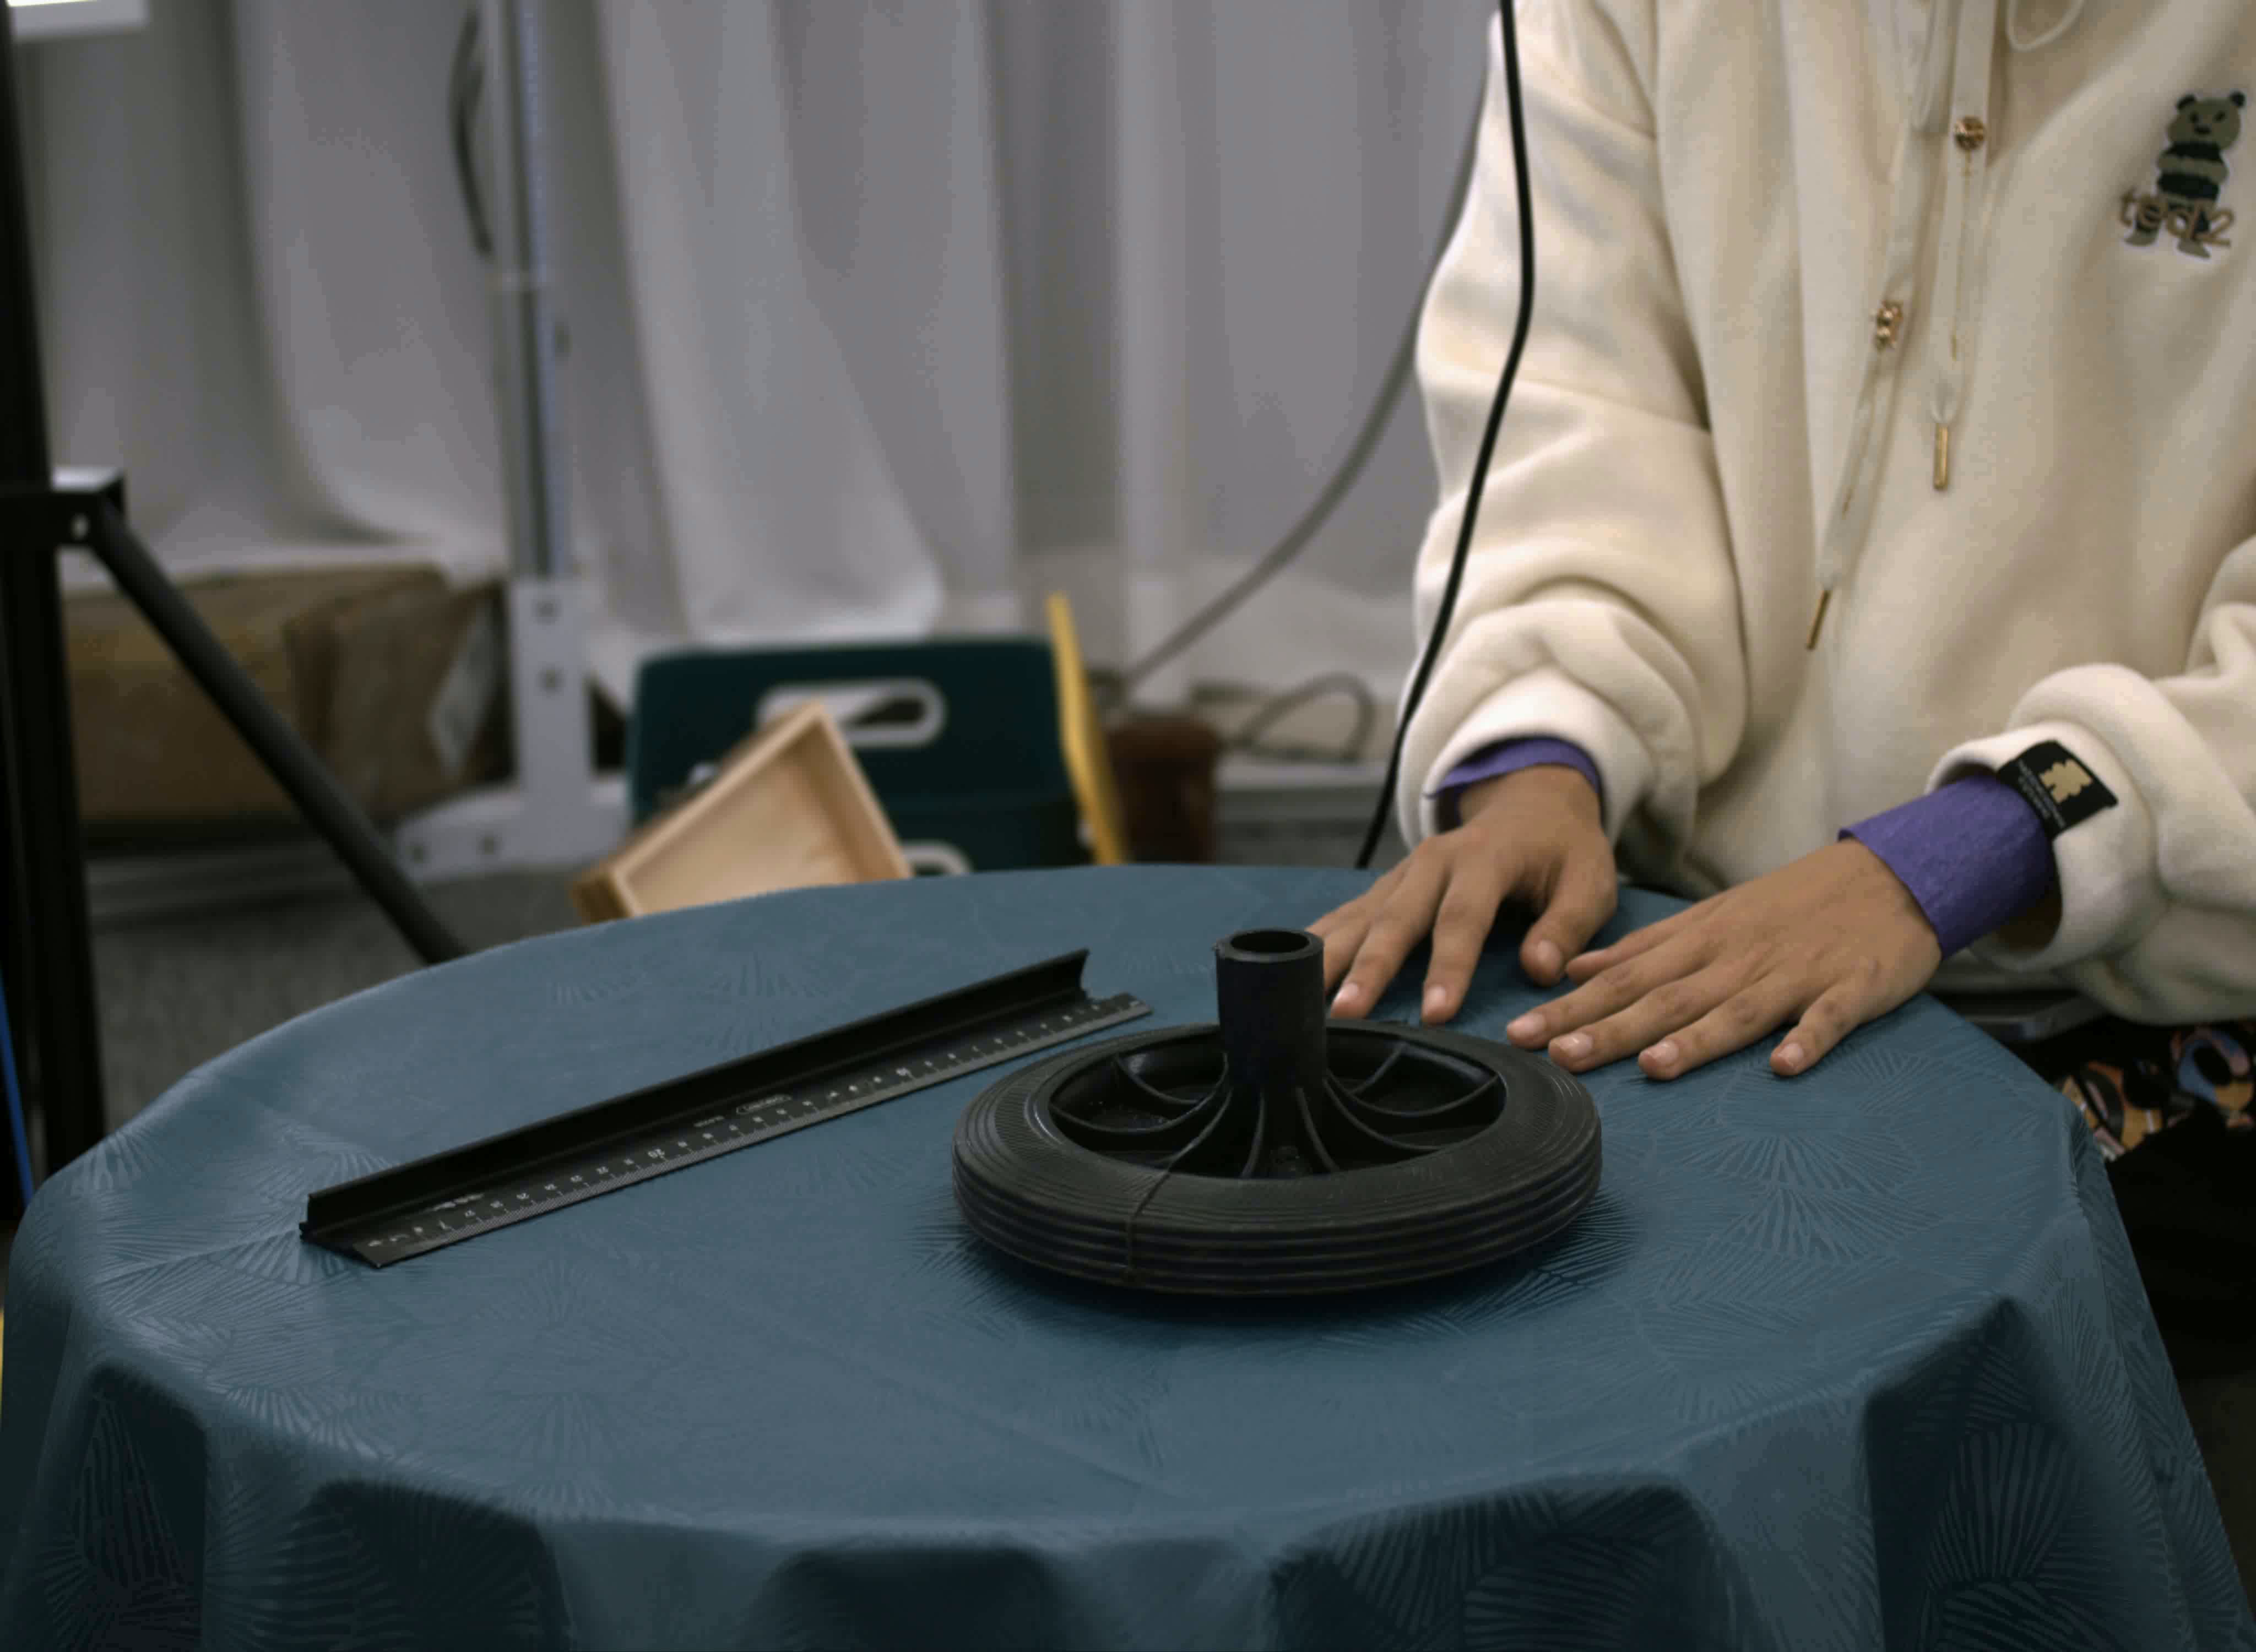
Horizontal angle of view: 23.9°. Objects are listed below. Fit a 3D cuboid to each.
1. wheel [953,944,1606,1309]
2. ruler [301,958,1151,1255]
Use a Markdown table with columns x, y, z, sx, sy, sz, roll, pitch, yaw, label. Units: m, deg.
| x | y | z | sx | sy | sz | roll | pitch | yaw | label |
| --- | --- | --- | --- | --- | --- | --- | --- | --- | --- |
| 0.043 | 0.076 | 1.523 | 0.183 | 0.079 | 0.194 | -10 | 18 | -24 | wheel |
| -0.116 | 0.083 | 1.635 | 0.305 | 0.017 | 0.040 | -15 | 24 | -39 | ruler |
